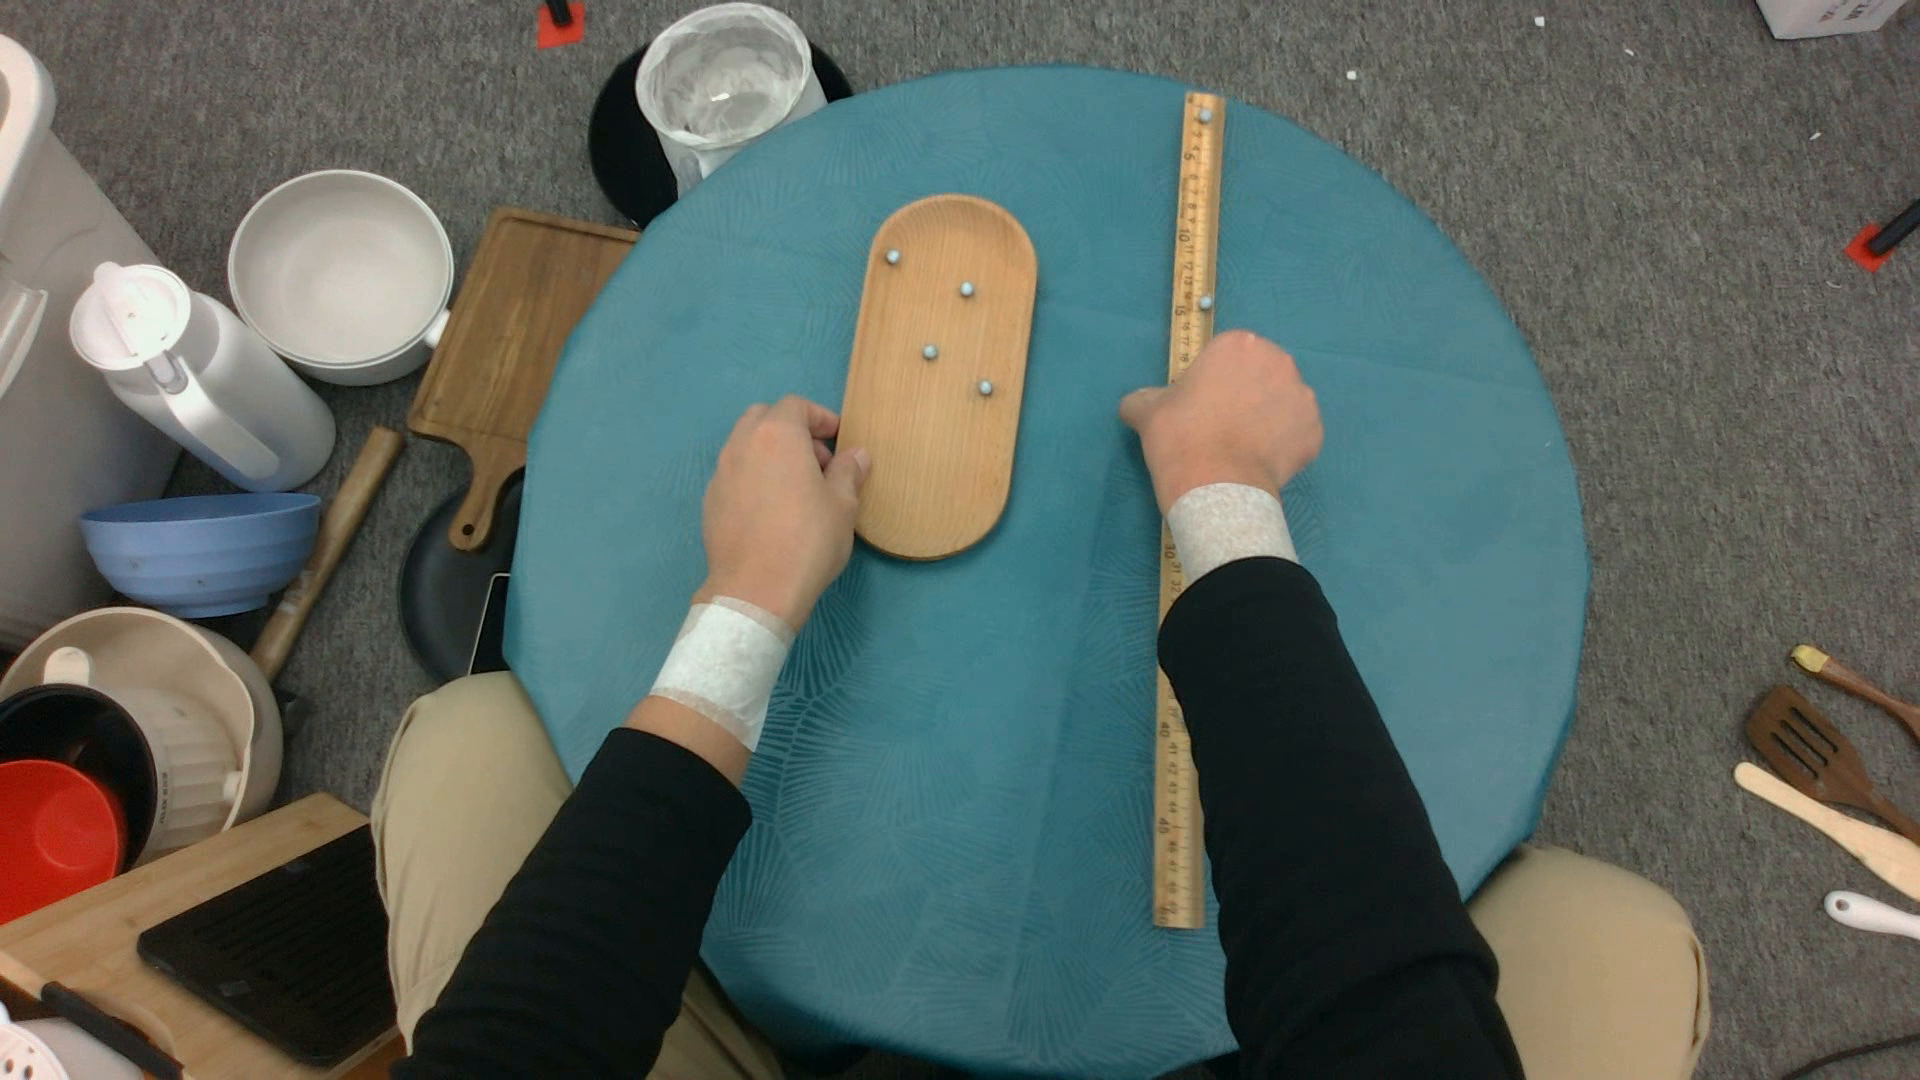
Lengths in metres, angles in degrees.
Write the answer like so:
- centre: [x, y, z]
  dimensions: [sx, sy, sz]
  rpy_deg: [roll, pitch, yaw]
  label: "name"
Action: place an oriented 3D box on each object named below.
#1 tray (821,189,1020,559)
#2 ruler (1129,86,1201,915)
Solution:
- centre: [-0.021, -0.099, 0.793]
  dimensions: [0.101, 0.020, 0.232]
  rpy_deg: [5, 72, 2]
  label: "tray"
- centre: [0.118, -0.046, 0.781]
  dimensions: [0.027, 0.006, 0.502]
  rpy_deg: [6, 71, -4]
  label: "ruler"
